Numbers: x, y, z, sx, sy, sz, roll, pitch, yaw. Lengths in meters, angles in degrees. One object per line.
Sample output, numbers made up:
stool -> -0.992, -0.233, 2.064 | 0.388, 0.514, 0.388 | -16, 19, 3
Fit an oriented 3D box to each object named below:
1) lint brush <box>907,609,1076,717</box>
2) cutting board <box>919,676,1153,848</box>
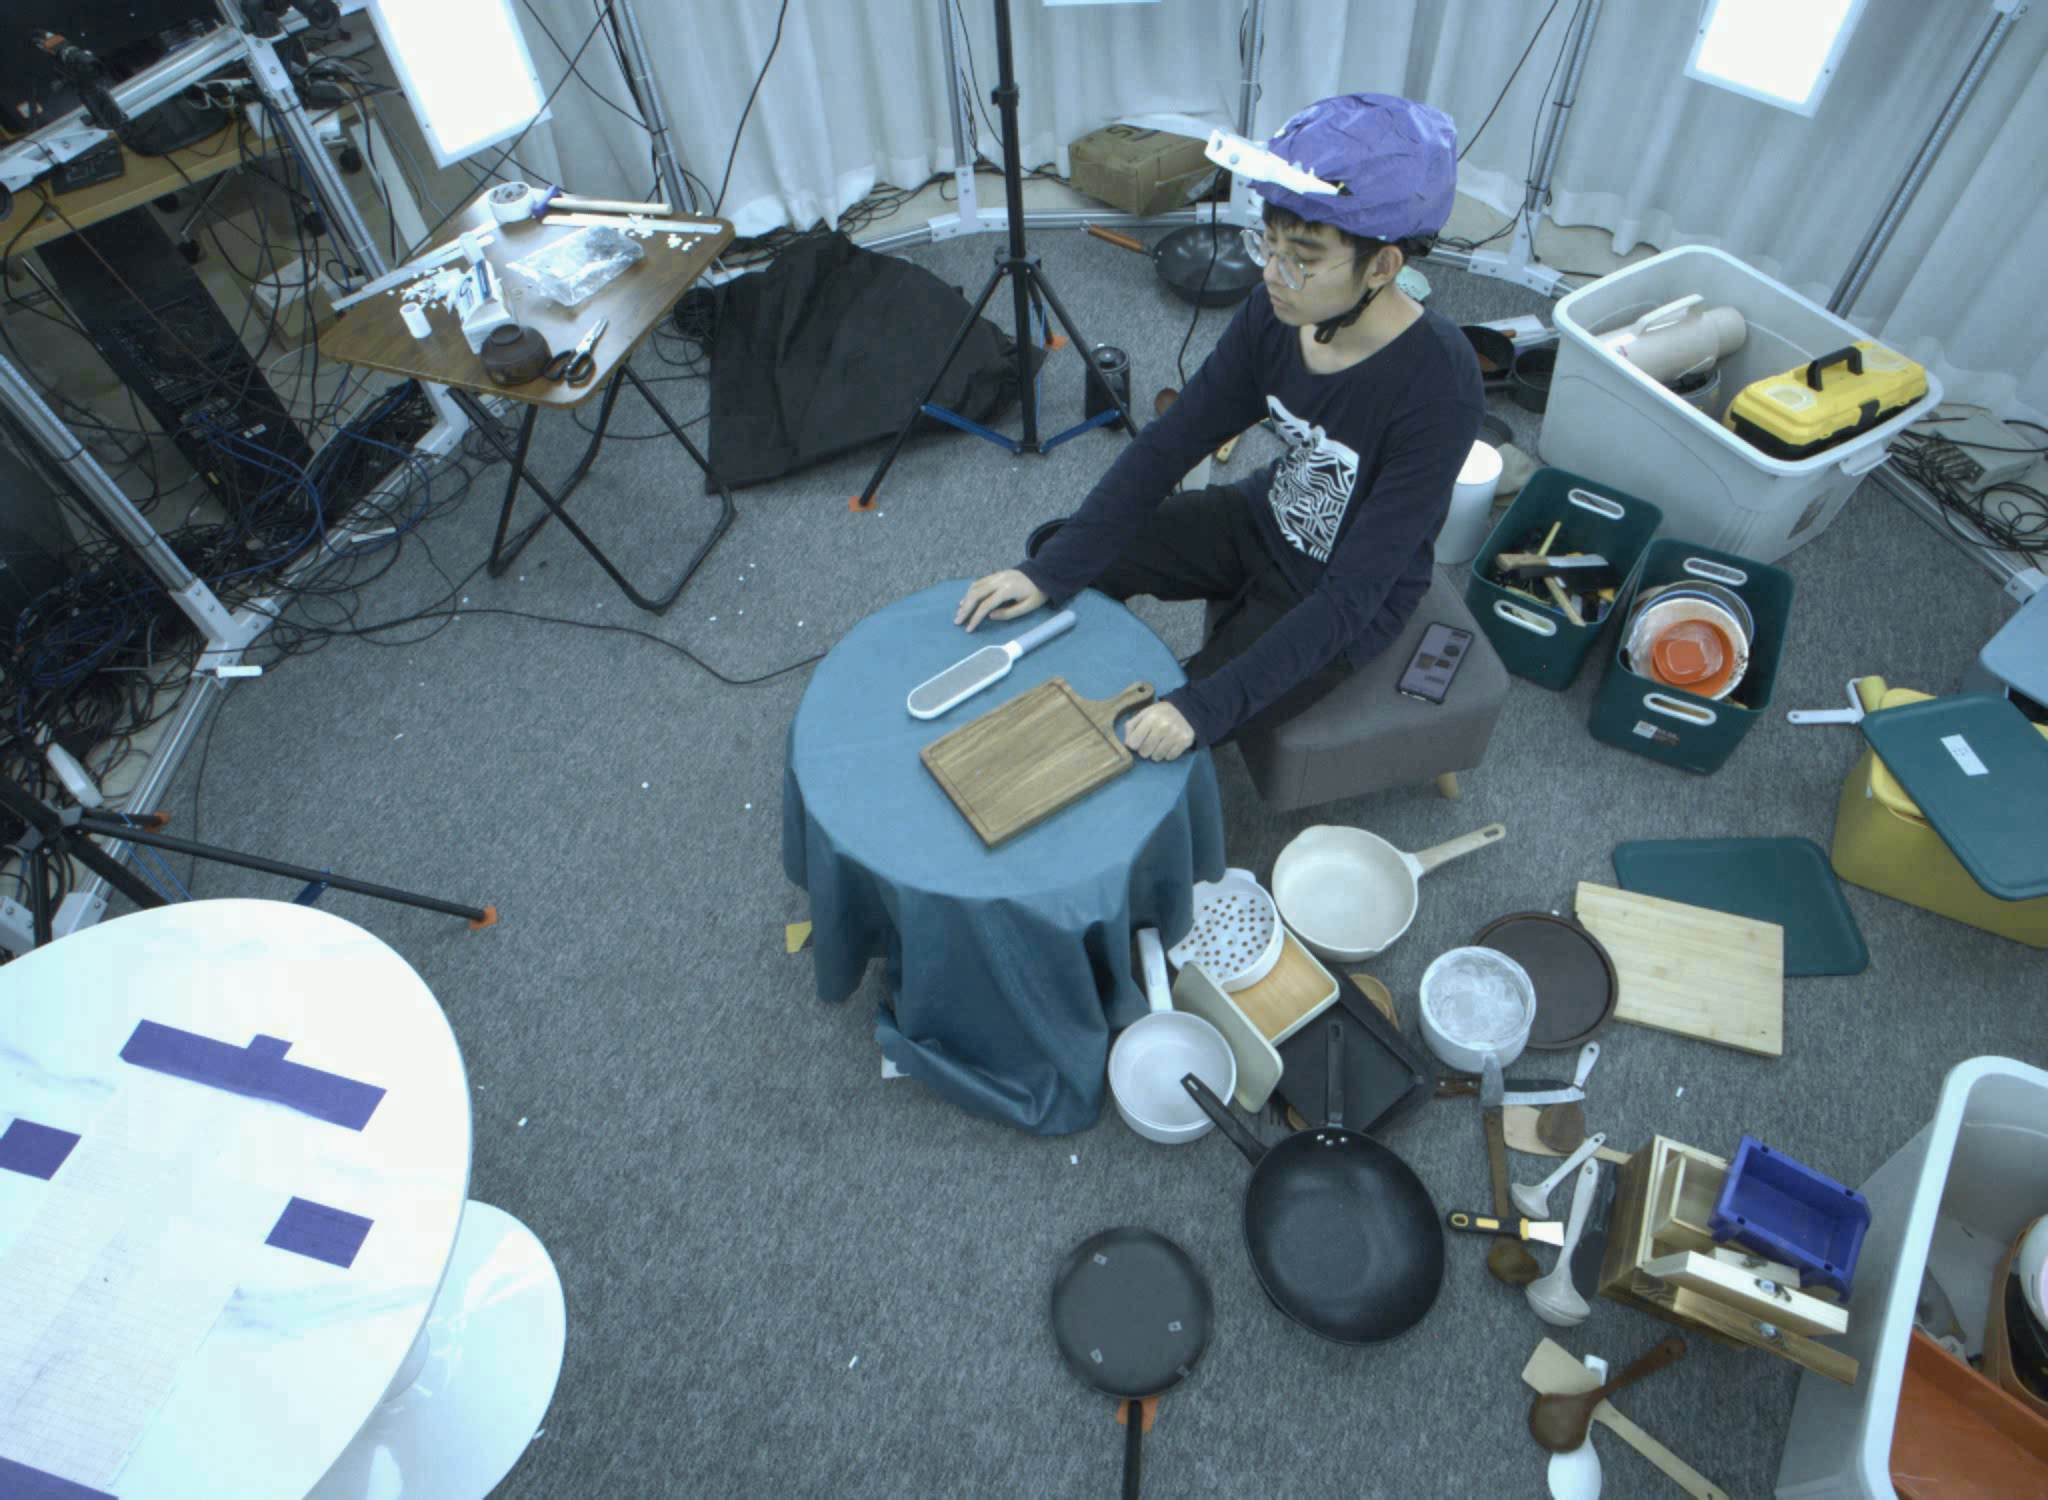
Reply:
lint brush -> -0.045, -0.137, 1.877 | 0.311, 0.021, 0.059 | -32, 54, -20
cutting board -> 0.044, -0.011, 1.790 | 0.355, 0.023, 0.197 | -29, 59, -19
